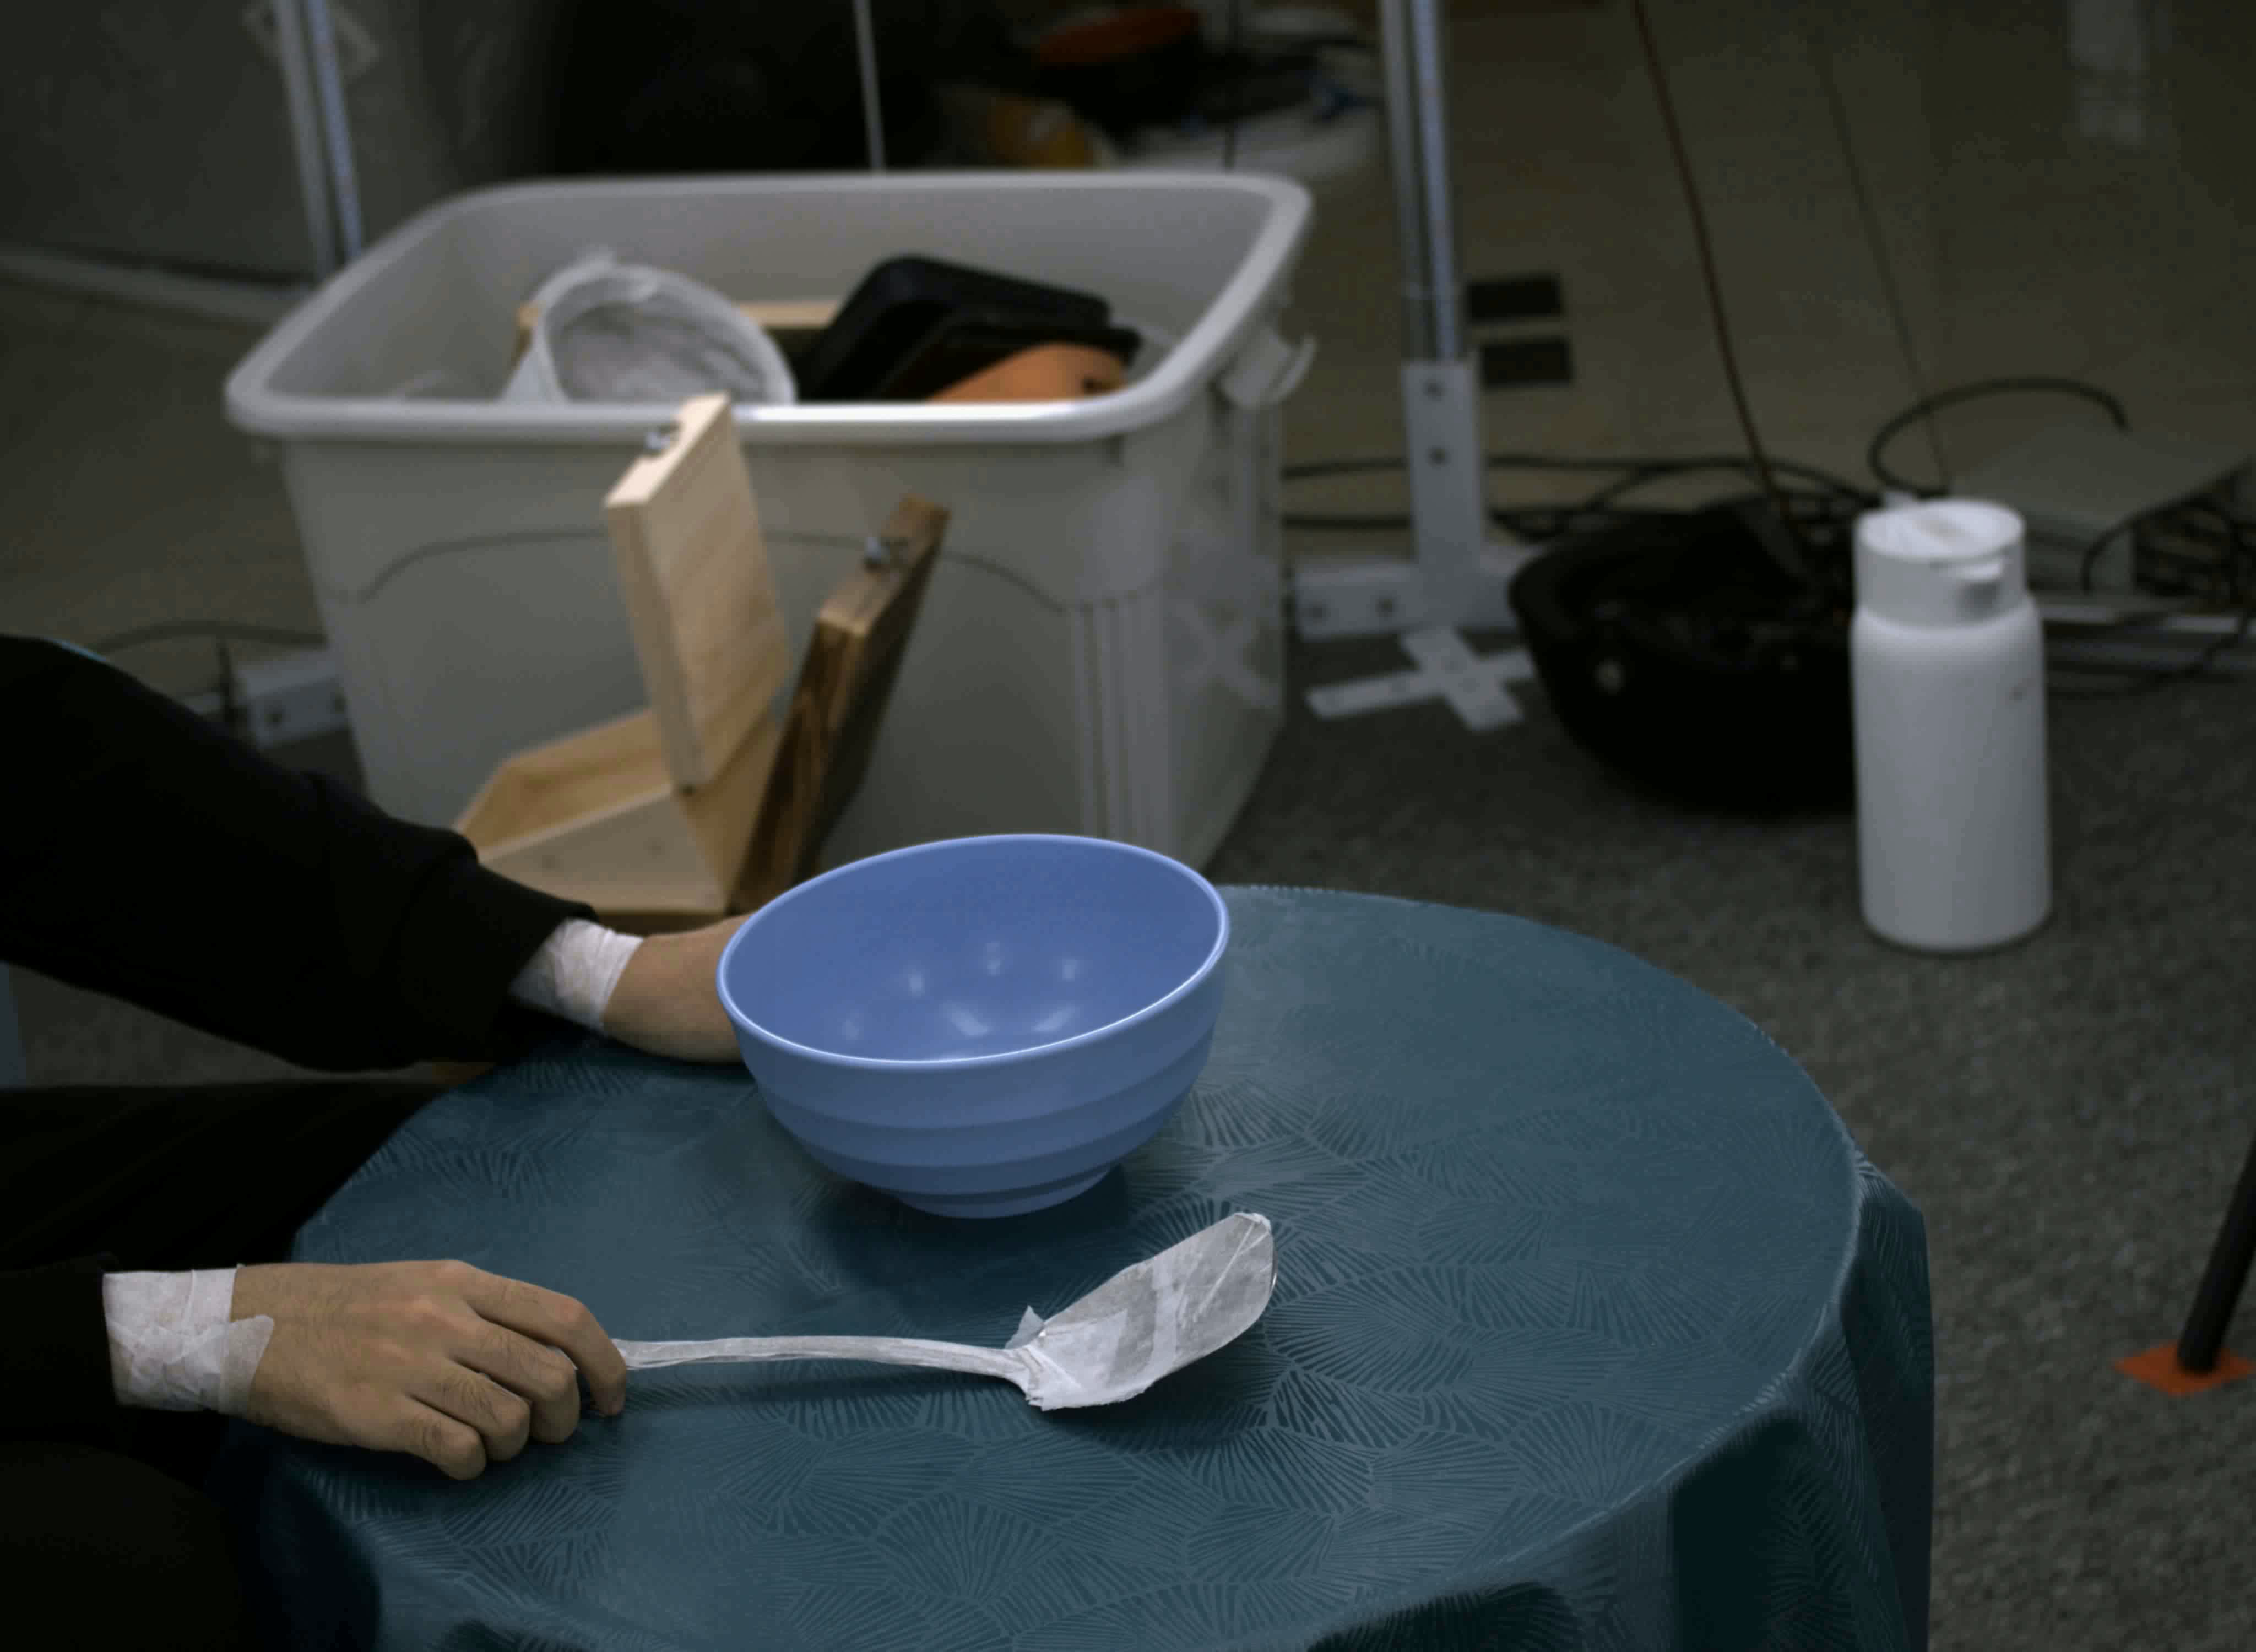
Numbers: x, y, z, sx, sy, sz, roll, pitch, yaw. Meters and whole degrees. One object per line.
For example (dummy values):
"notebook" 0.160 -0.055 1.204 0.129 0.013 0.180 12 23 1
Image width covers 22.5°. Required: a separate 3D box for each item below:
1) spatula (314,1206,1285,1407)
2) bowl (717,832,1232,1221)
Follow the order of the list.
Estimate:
"spatula" -0.123 0.183 2.042 0.364 0.045 0.097 -3 27 7
"bowl" -0.054 0.087 2.164 0.196 0.097 0.193 -5 26 3
